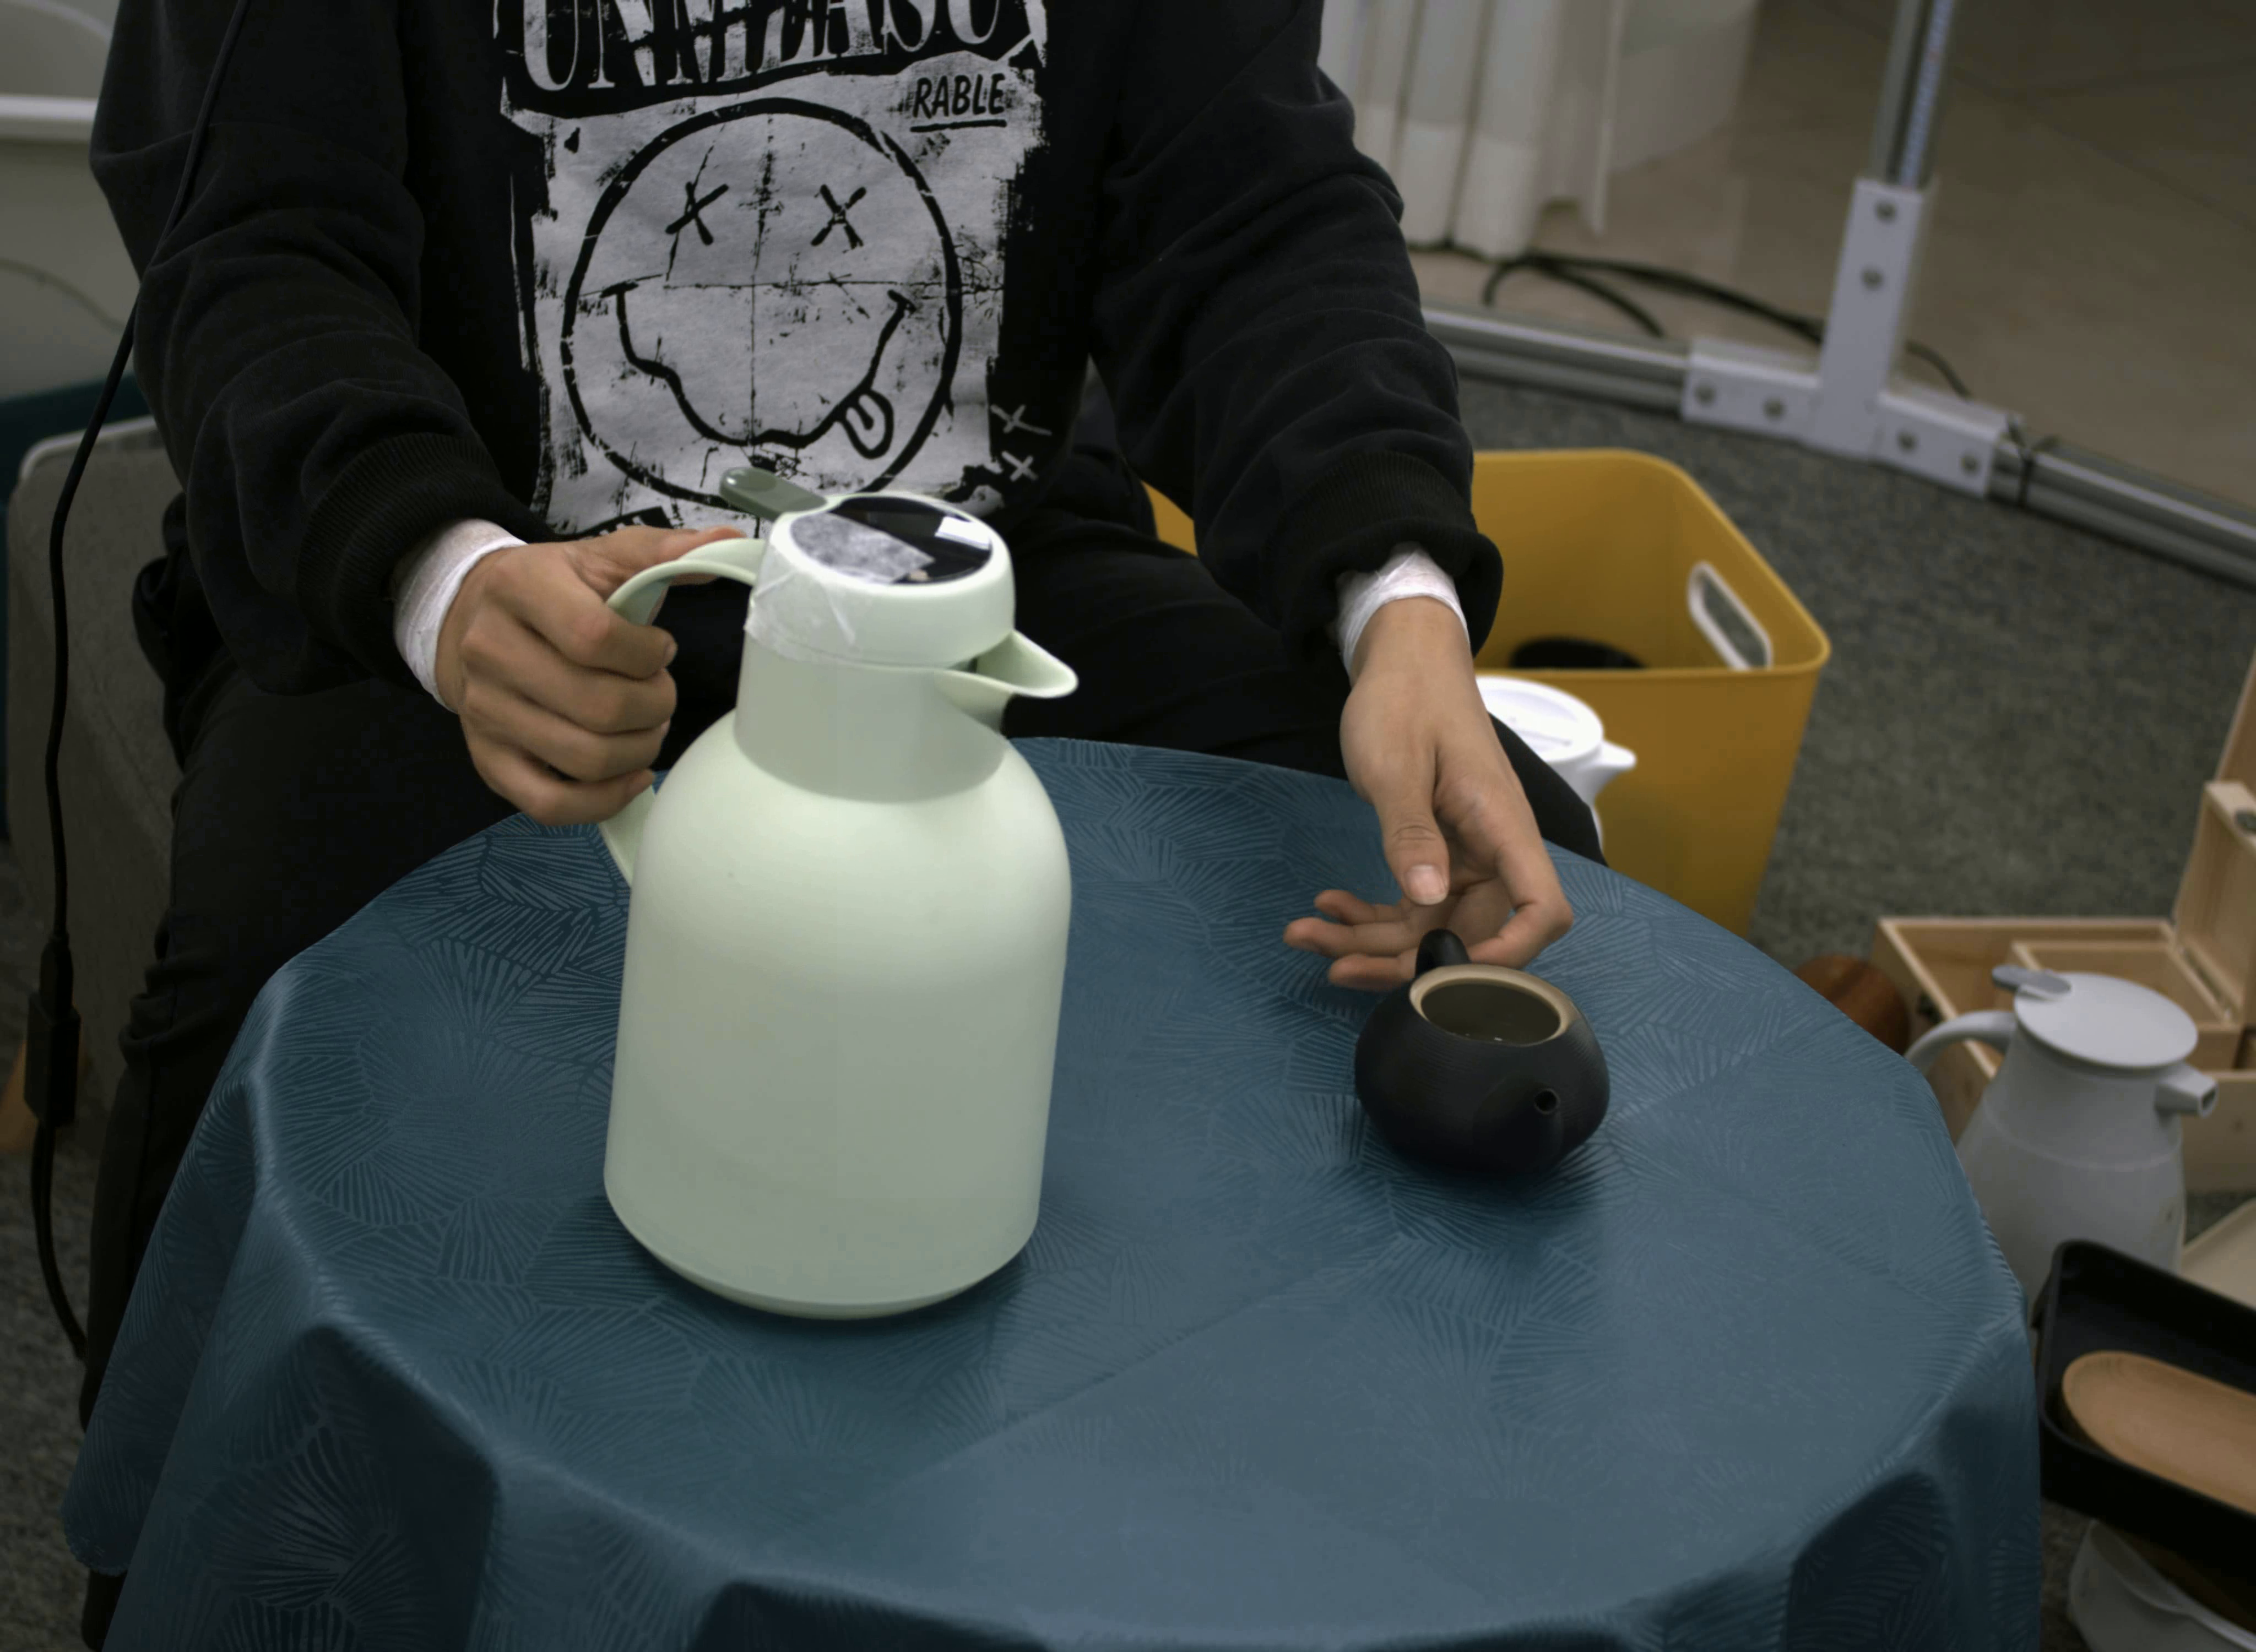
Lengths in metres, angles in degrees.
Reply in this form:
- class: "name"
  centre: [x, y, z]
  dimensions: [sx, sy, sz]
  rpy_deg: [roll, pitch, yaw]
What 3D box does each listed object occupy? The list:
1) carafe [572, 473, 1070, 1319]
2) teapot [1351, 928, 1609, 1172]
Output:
- class: "carafe"
  centre: [-0.101, 0.016, 1.719]
  dimensions: [0.188, 0.256, 0.144]
  rpy_deg: [20, 30, 30]
- class: "teapot"
  centre: [0.123, 0.084, 1.852]
  dimensions: [0.090, 0.053, 0.134]
  rpy_deg: [0, 28, -16]
